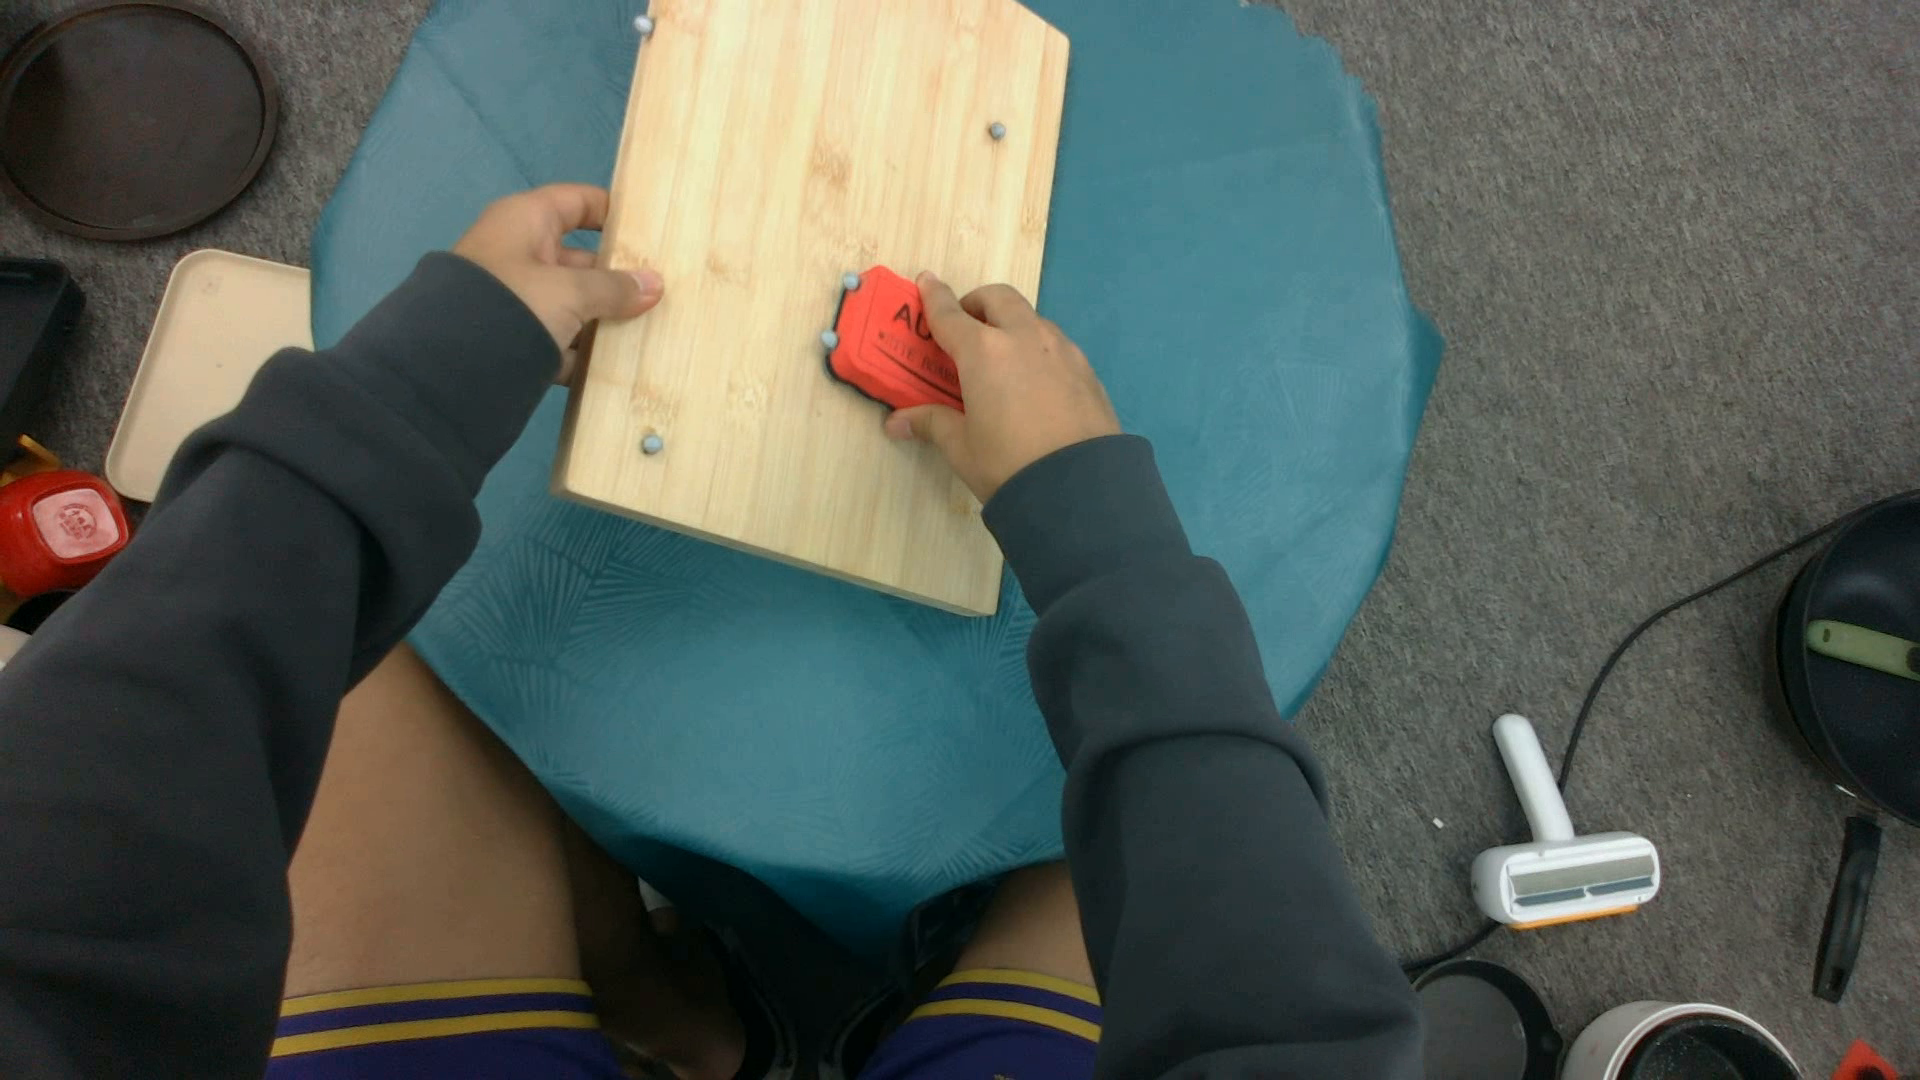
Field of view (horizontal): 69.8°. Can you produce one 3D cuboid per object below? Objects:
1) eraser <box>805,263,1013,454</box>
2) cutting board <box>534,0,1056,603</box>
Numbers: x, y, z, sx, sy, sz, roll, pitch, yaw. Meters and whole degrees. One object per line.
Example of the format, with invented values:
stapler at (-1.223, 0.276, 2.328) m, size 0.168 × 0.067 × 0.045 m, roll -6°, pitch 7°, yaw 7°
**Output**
eraser at (-0.023, -0.088, 0.677) m, size 0.108 × 0.023 × 0.059 m, roll 25°, pitch 64°, yaw -33°
cutting board at (-0.062, -0.162, 0.686) m, size 0.251 × 0.023 × 0.349 m, roll 18°, pitch 73°, yaw -39°
